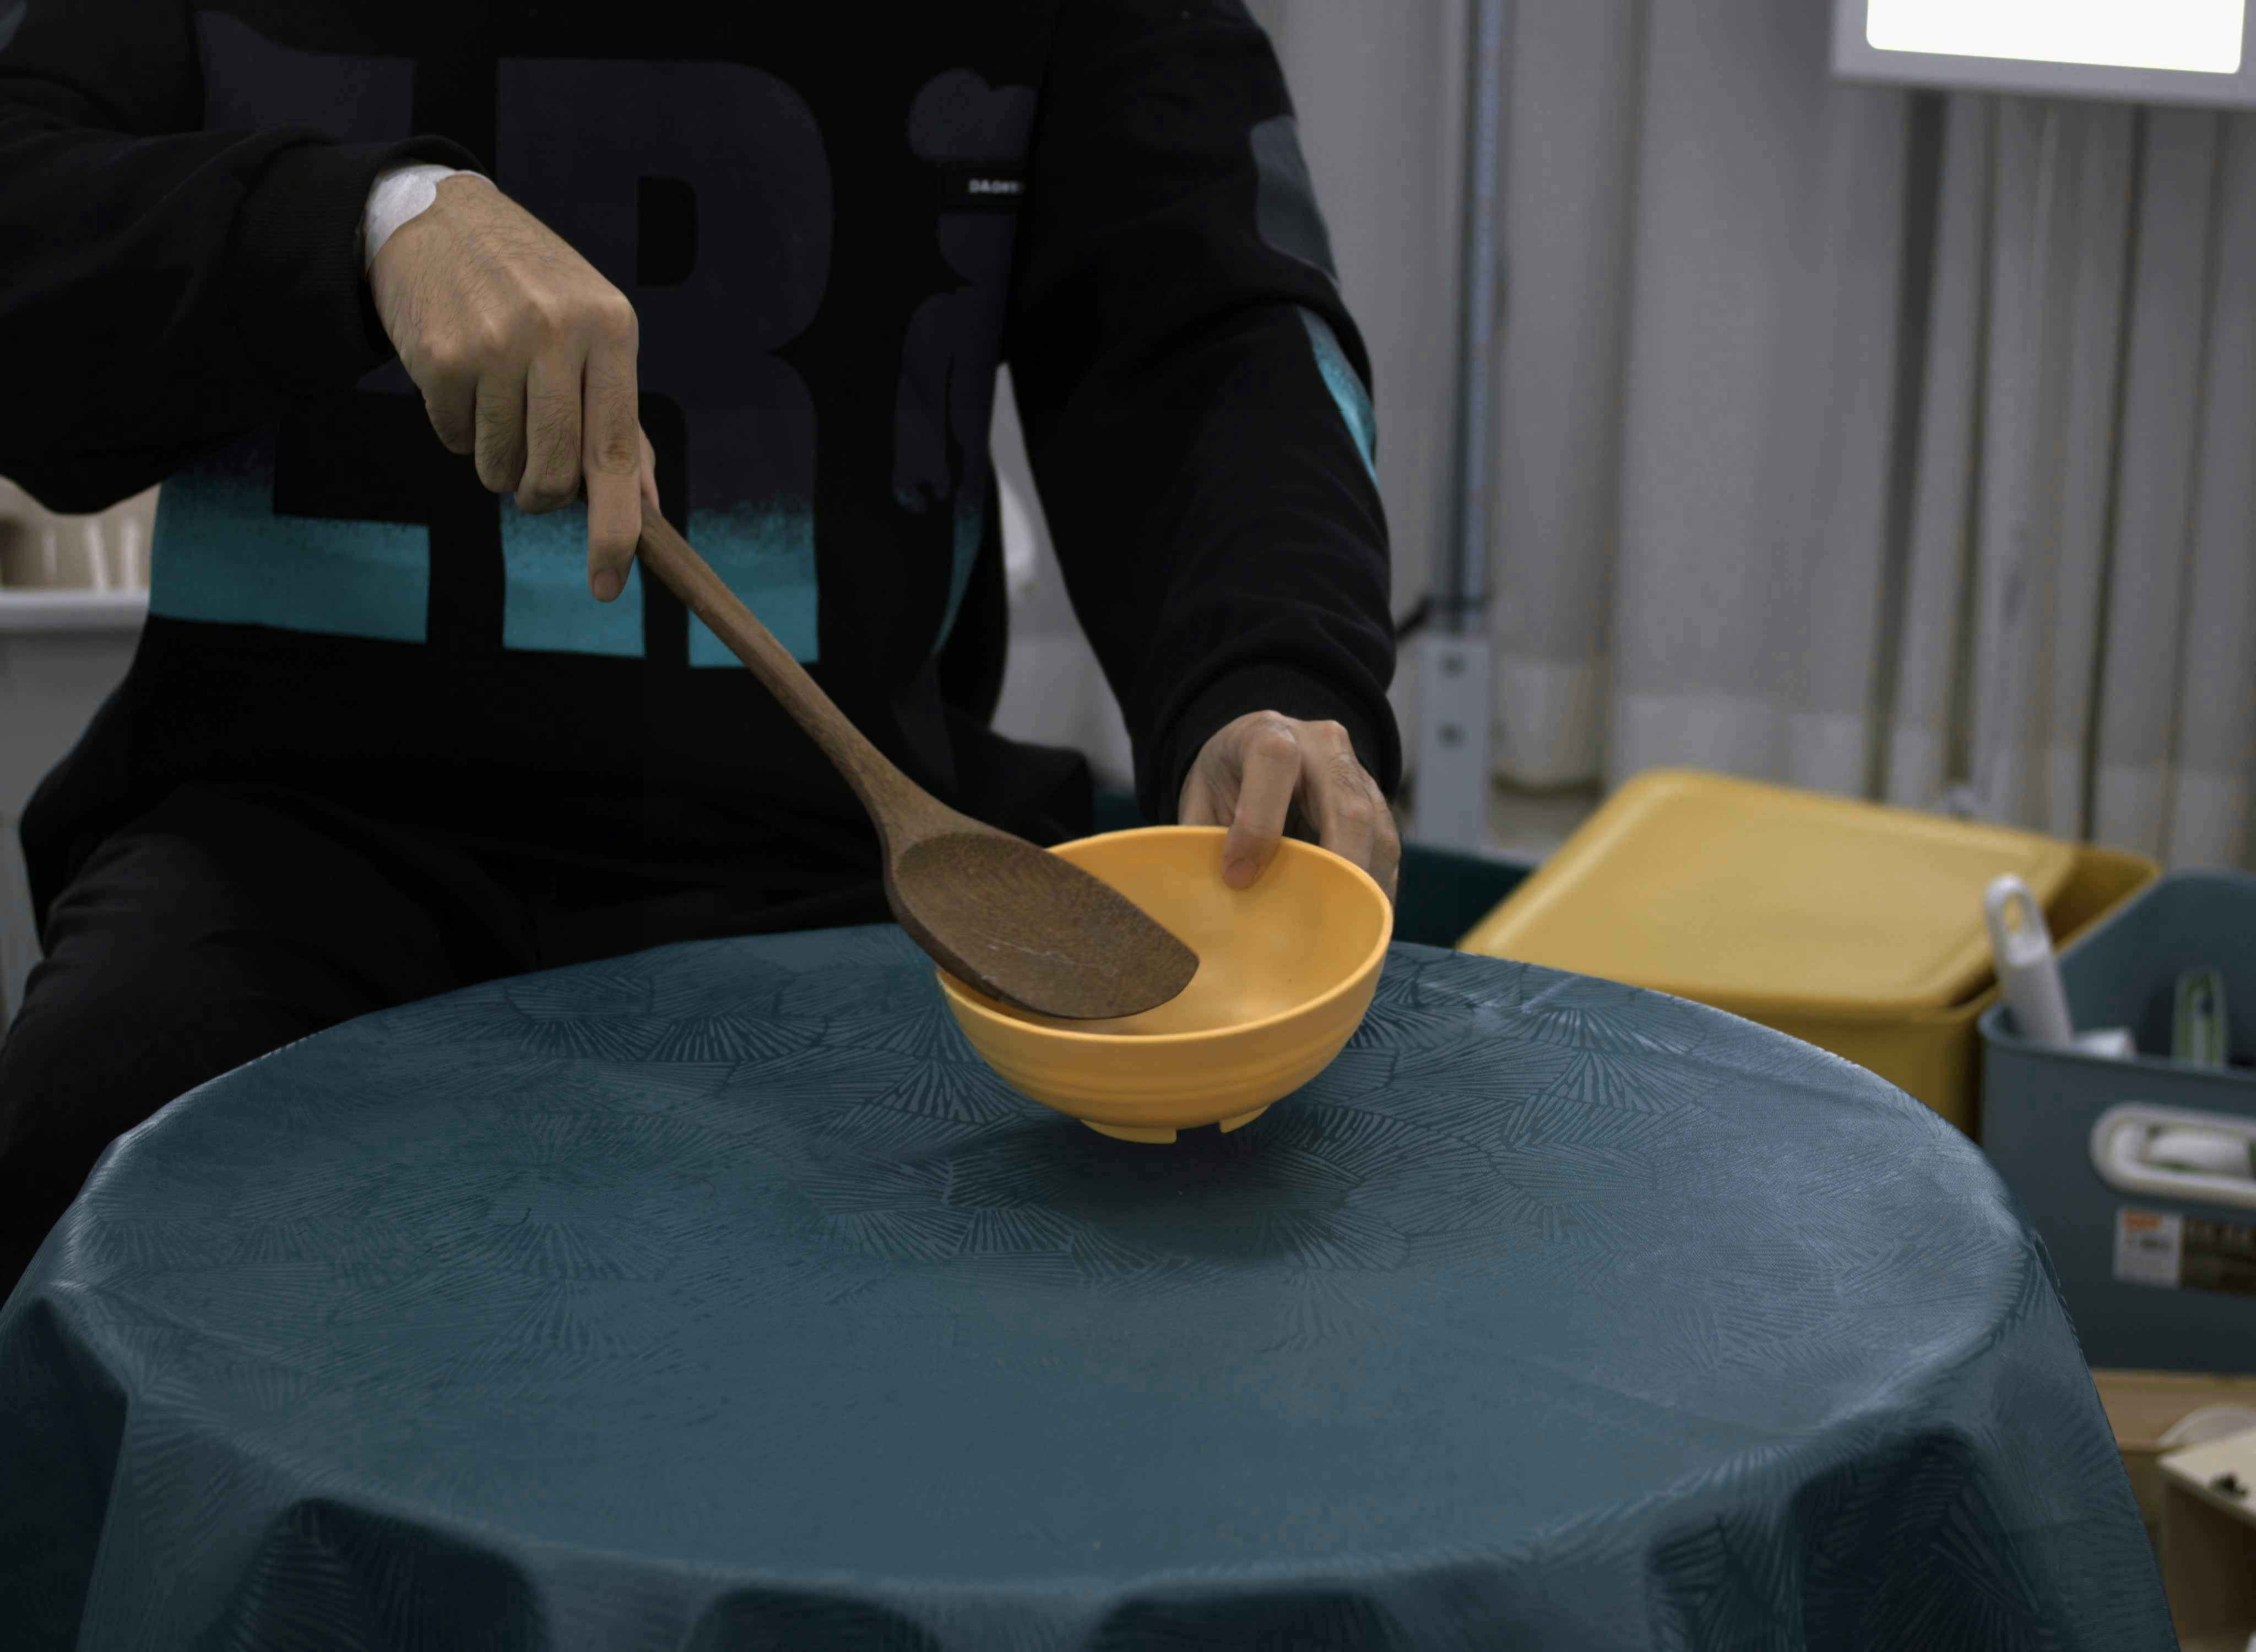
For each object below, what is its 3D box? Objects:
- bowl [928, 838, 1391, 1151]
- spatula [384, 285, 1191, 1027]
[{"bbox_3d":[0.010,0.060,1.650,0.145,0.061,0.144,-1,25,1],"label":"bowl"},{"bbox_3d":[-0.124,-0.062,1.700,0.382,0.016,0.096,45,32,24],"label":"spatula"}]
